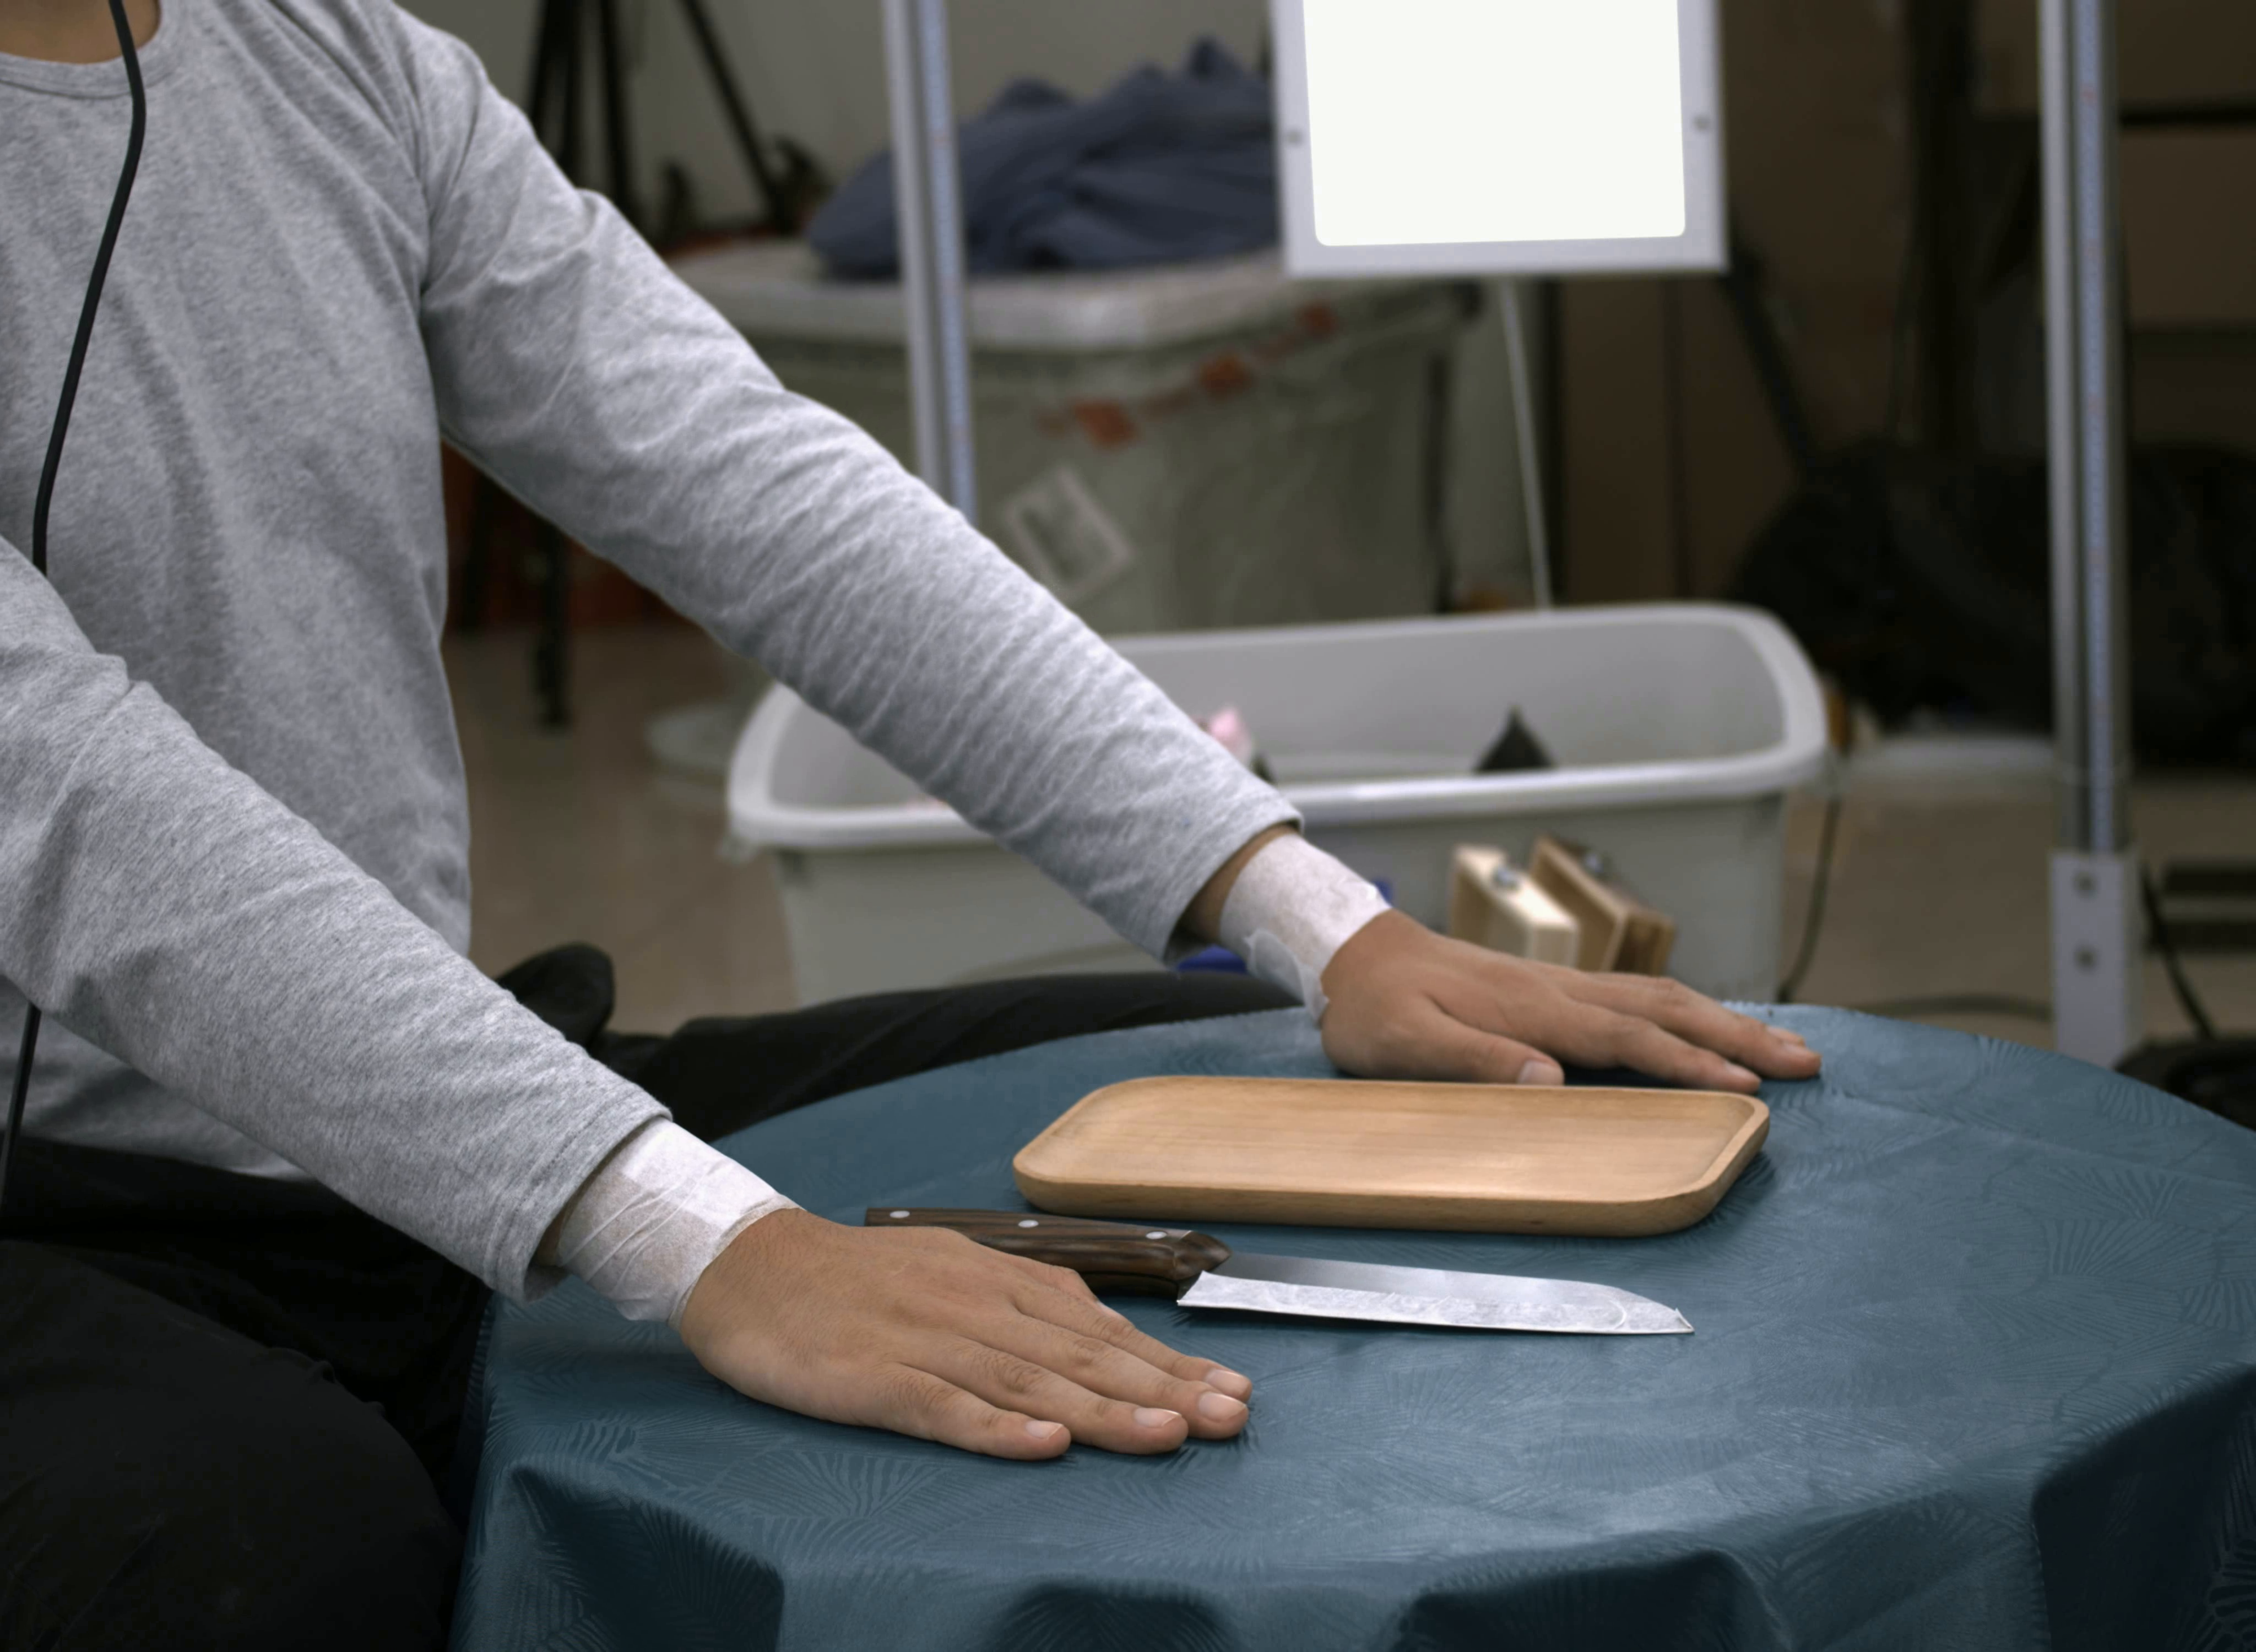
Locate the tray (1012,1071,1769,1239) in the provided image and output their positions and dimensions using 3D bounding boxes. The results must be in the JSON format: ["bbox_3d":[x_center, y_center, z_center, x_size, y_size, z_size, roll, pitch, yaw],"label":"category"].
[{"bbox_3d":[0.091,0.113,1.895,0.254,0.023,0.128,0,12,24],"label":"tray"}]

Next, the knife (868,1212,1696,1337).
[{"bbox_3d":[0.045,0.147,1.774,0.293,0.020,0.049,4,21,24],"label":"knife"}]
